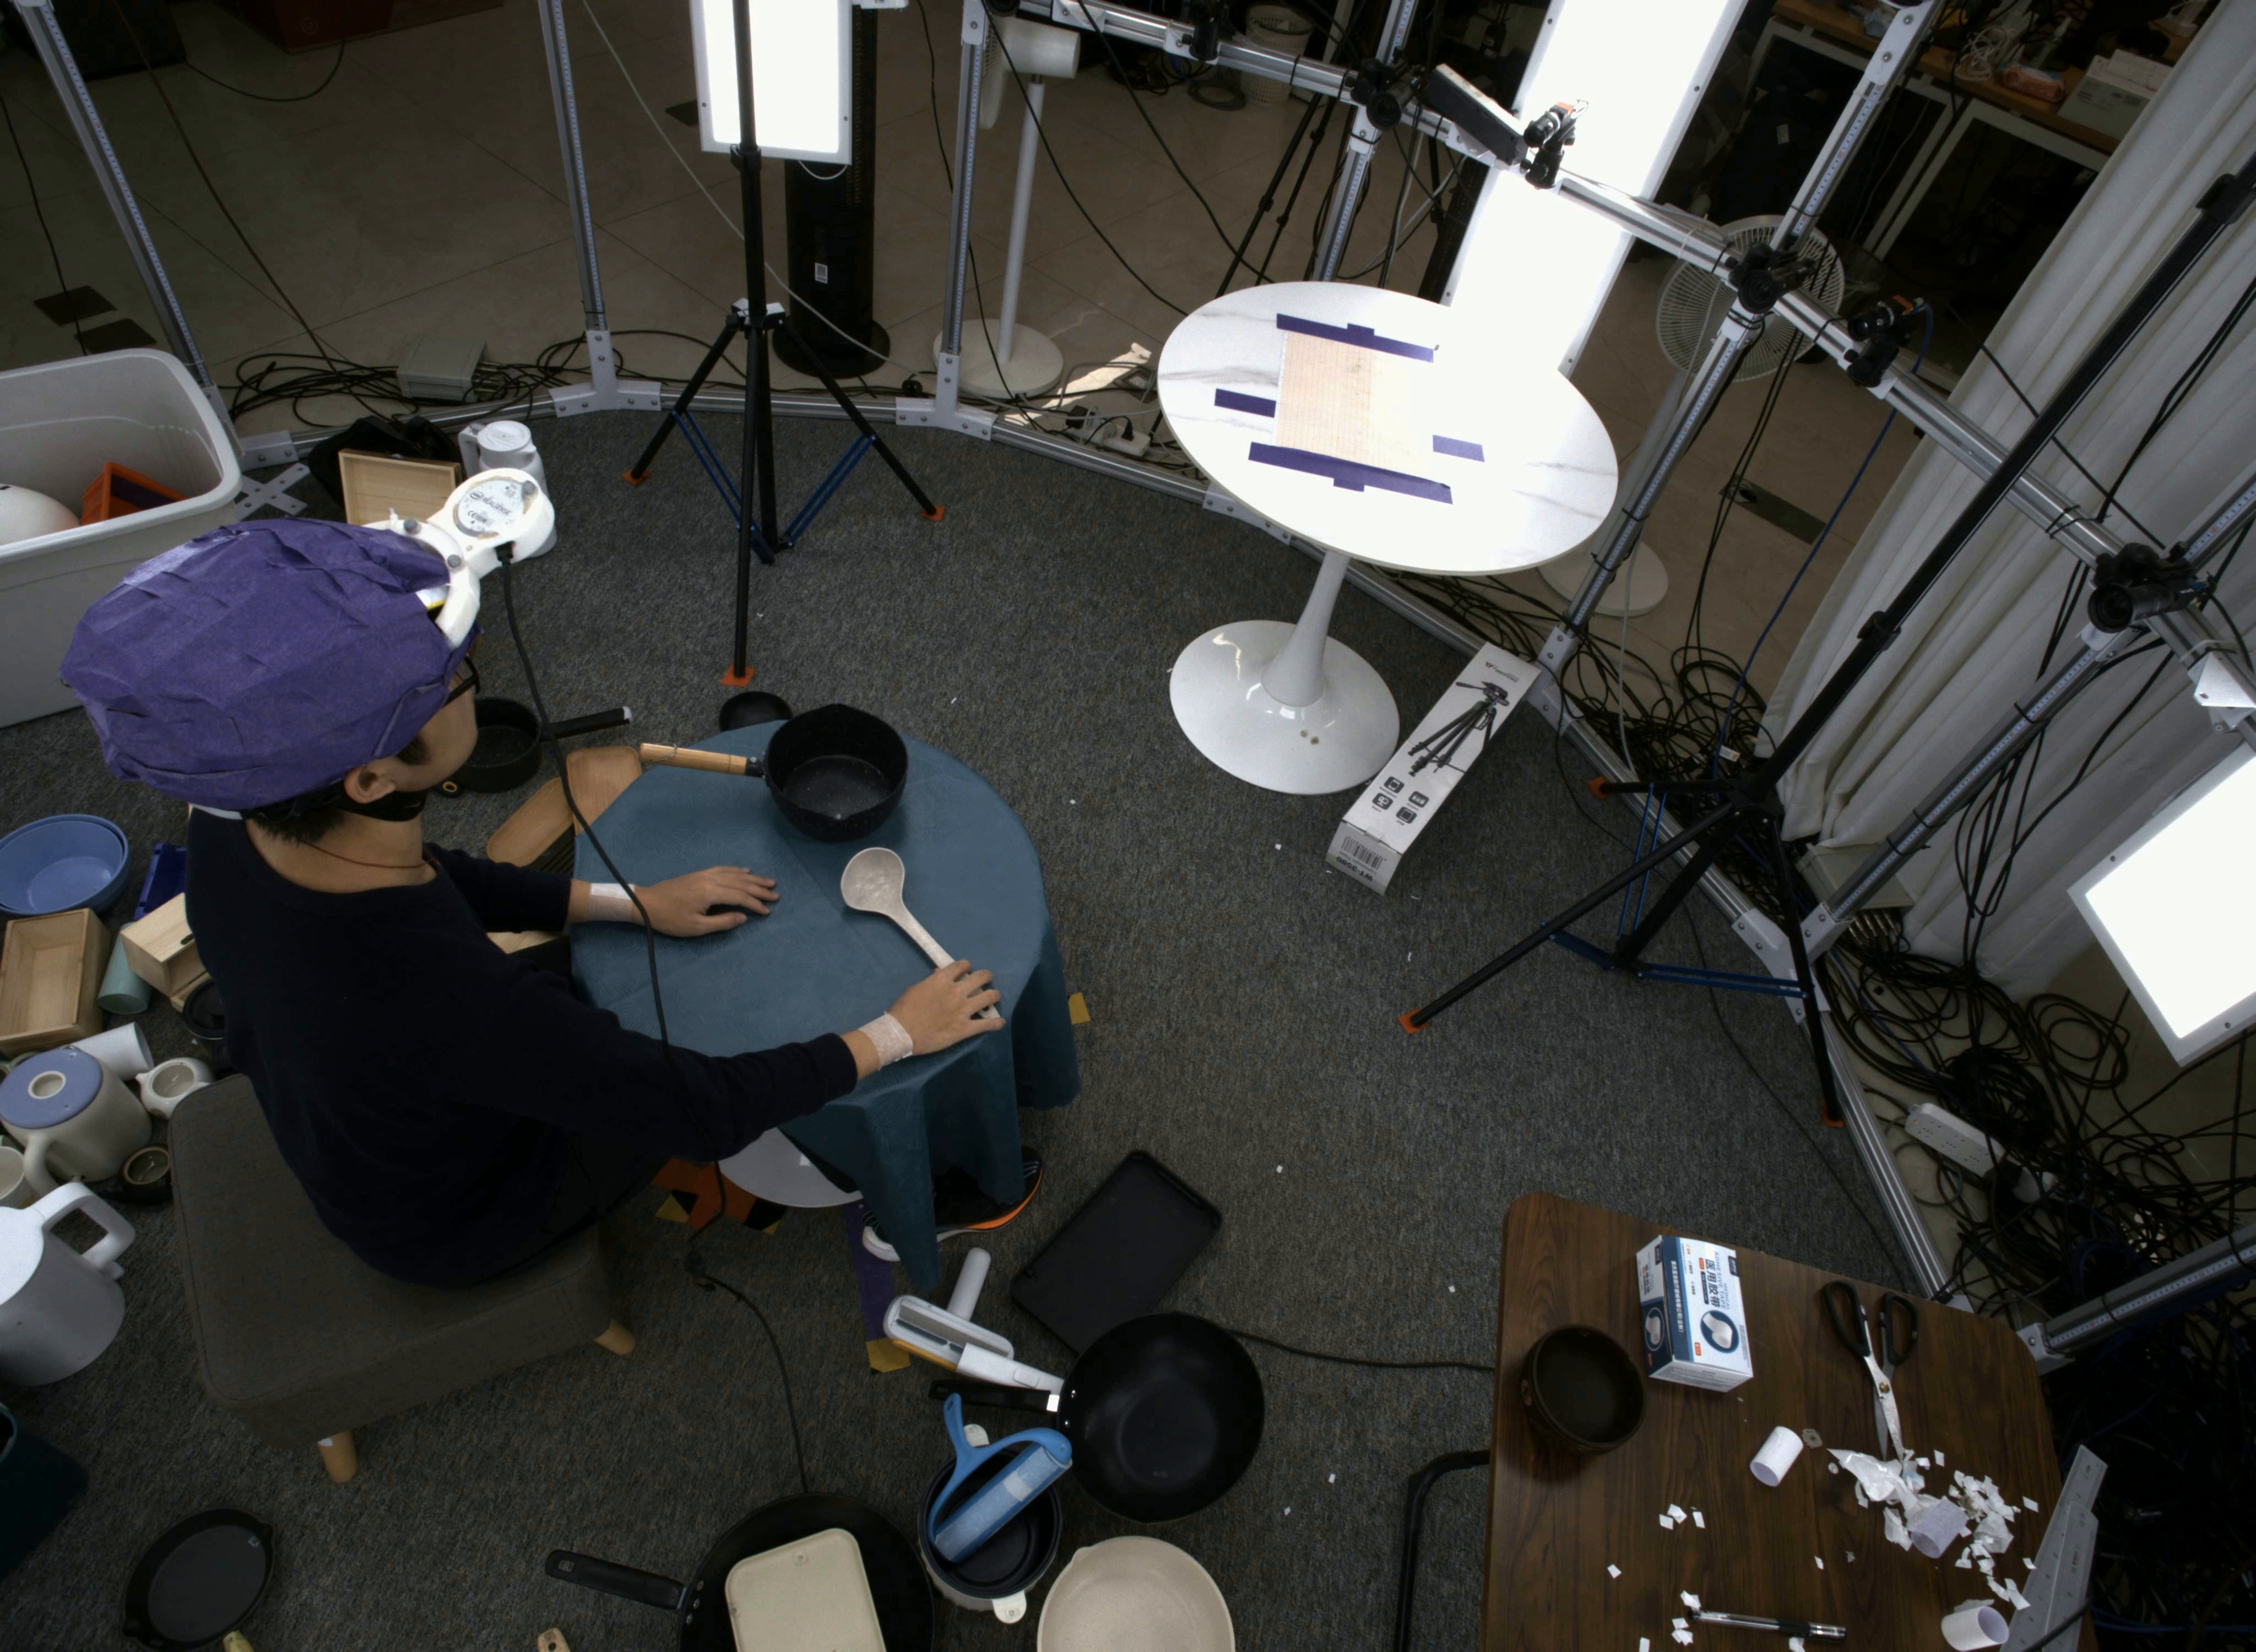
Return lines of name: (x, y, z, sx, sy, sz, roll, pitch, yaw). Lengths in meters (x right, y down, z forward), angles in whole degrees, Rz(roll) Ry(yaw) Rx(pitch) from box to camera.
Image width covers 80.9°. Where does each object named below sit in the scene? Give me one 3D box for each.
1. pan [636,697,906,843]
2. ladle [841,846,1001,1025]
pan: (-0.462, -0.069, 1.686, 0.344, 0.110, 0.203, -1, 55, -17)
ladle: (-0.250, 0.134, 1.615, 0.268, 0.071, 0.089, 42, 57, 18)
